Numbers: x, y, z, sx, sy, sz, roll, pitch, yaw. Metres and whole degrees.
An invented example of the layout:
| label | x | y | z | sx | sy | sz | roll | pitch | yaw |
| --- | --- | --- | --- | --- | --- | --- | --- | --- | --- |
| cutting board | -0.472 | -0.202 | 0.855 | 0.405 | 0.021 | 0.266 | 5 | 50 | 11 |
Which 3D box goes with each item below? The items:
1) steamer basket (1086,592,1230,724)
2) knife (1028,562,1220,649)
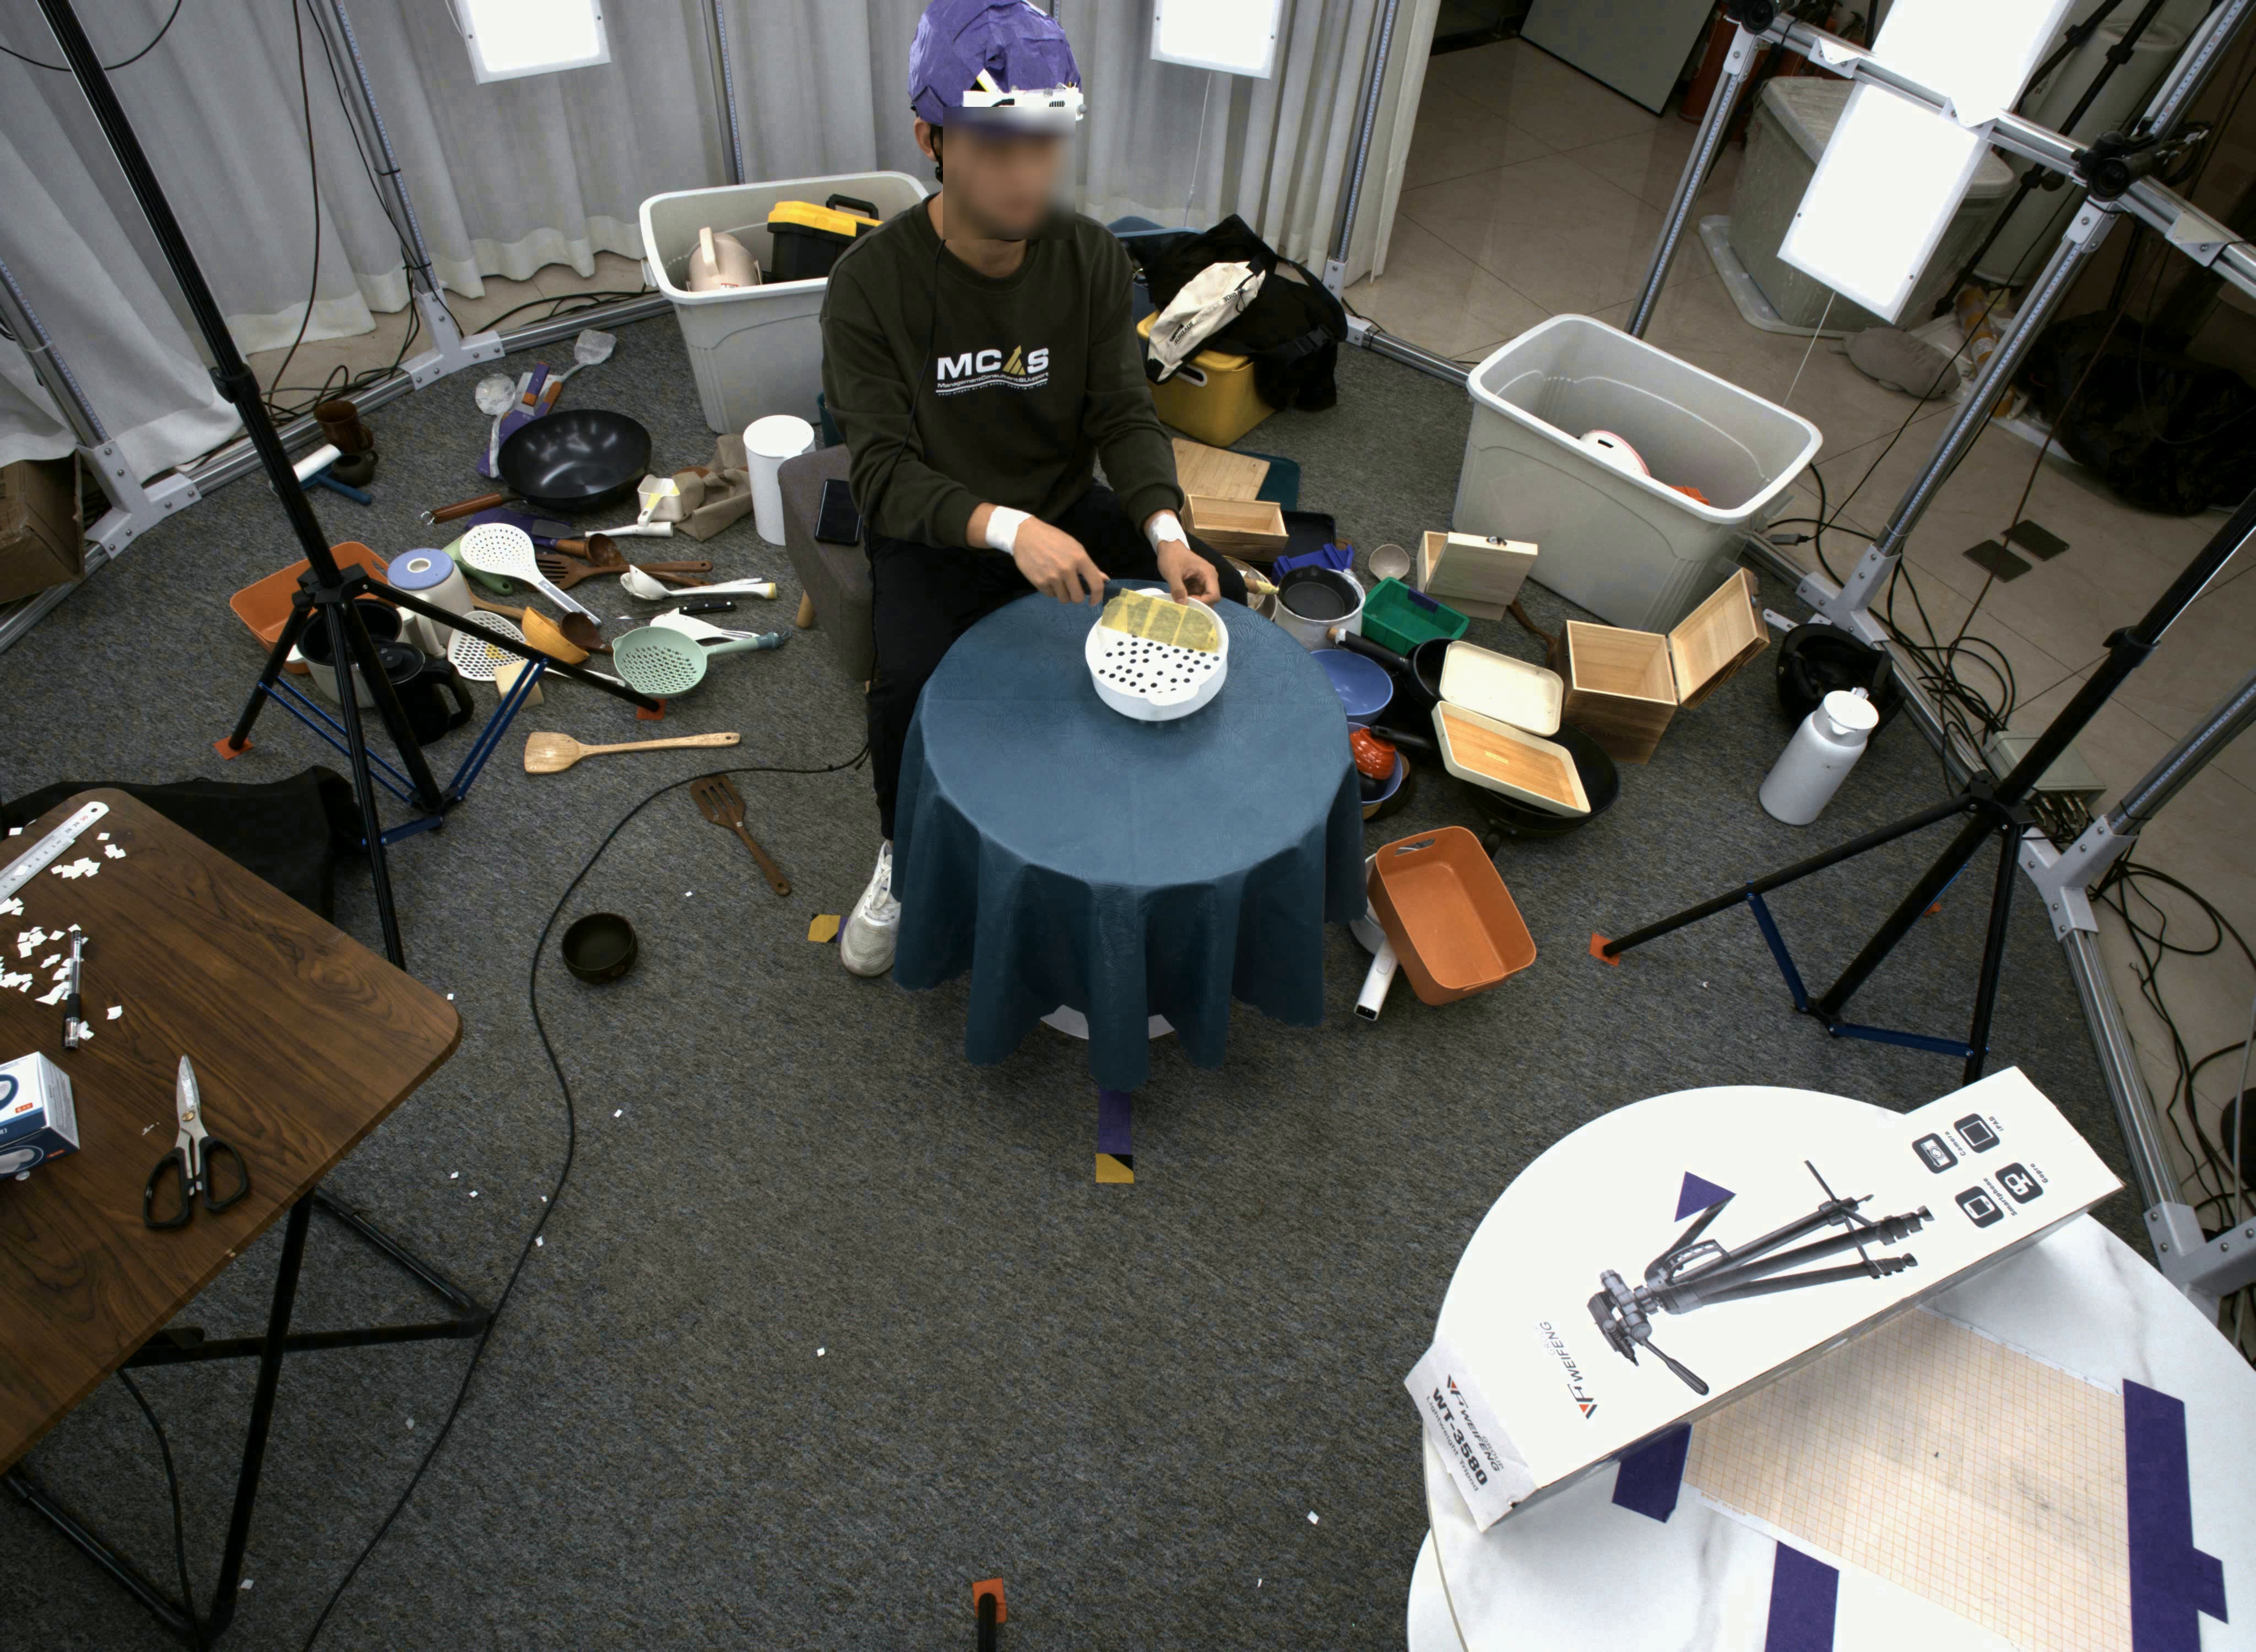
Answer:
| label | x | y | z | sx | sy | sz | roll | pitch | yaw |
| --- | --- | --- | --- | --- | --- | --- | --- | --- | --- |
| steamer basket | 0.044 | -0.234 | 1.817 | 0.202 | 0.067 | 0.236 | -13 | 51 | -3 |
| knife | -0.006 | -0.308 | 1.807 | 0.288 | 0.079 | 0.028 | 18 | 41 | -7 |
